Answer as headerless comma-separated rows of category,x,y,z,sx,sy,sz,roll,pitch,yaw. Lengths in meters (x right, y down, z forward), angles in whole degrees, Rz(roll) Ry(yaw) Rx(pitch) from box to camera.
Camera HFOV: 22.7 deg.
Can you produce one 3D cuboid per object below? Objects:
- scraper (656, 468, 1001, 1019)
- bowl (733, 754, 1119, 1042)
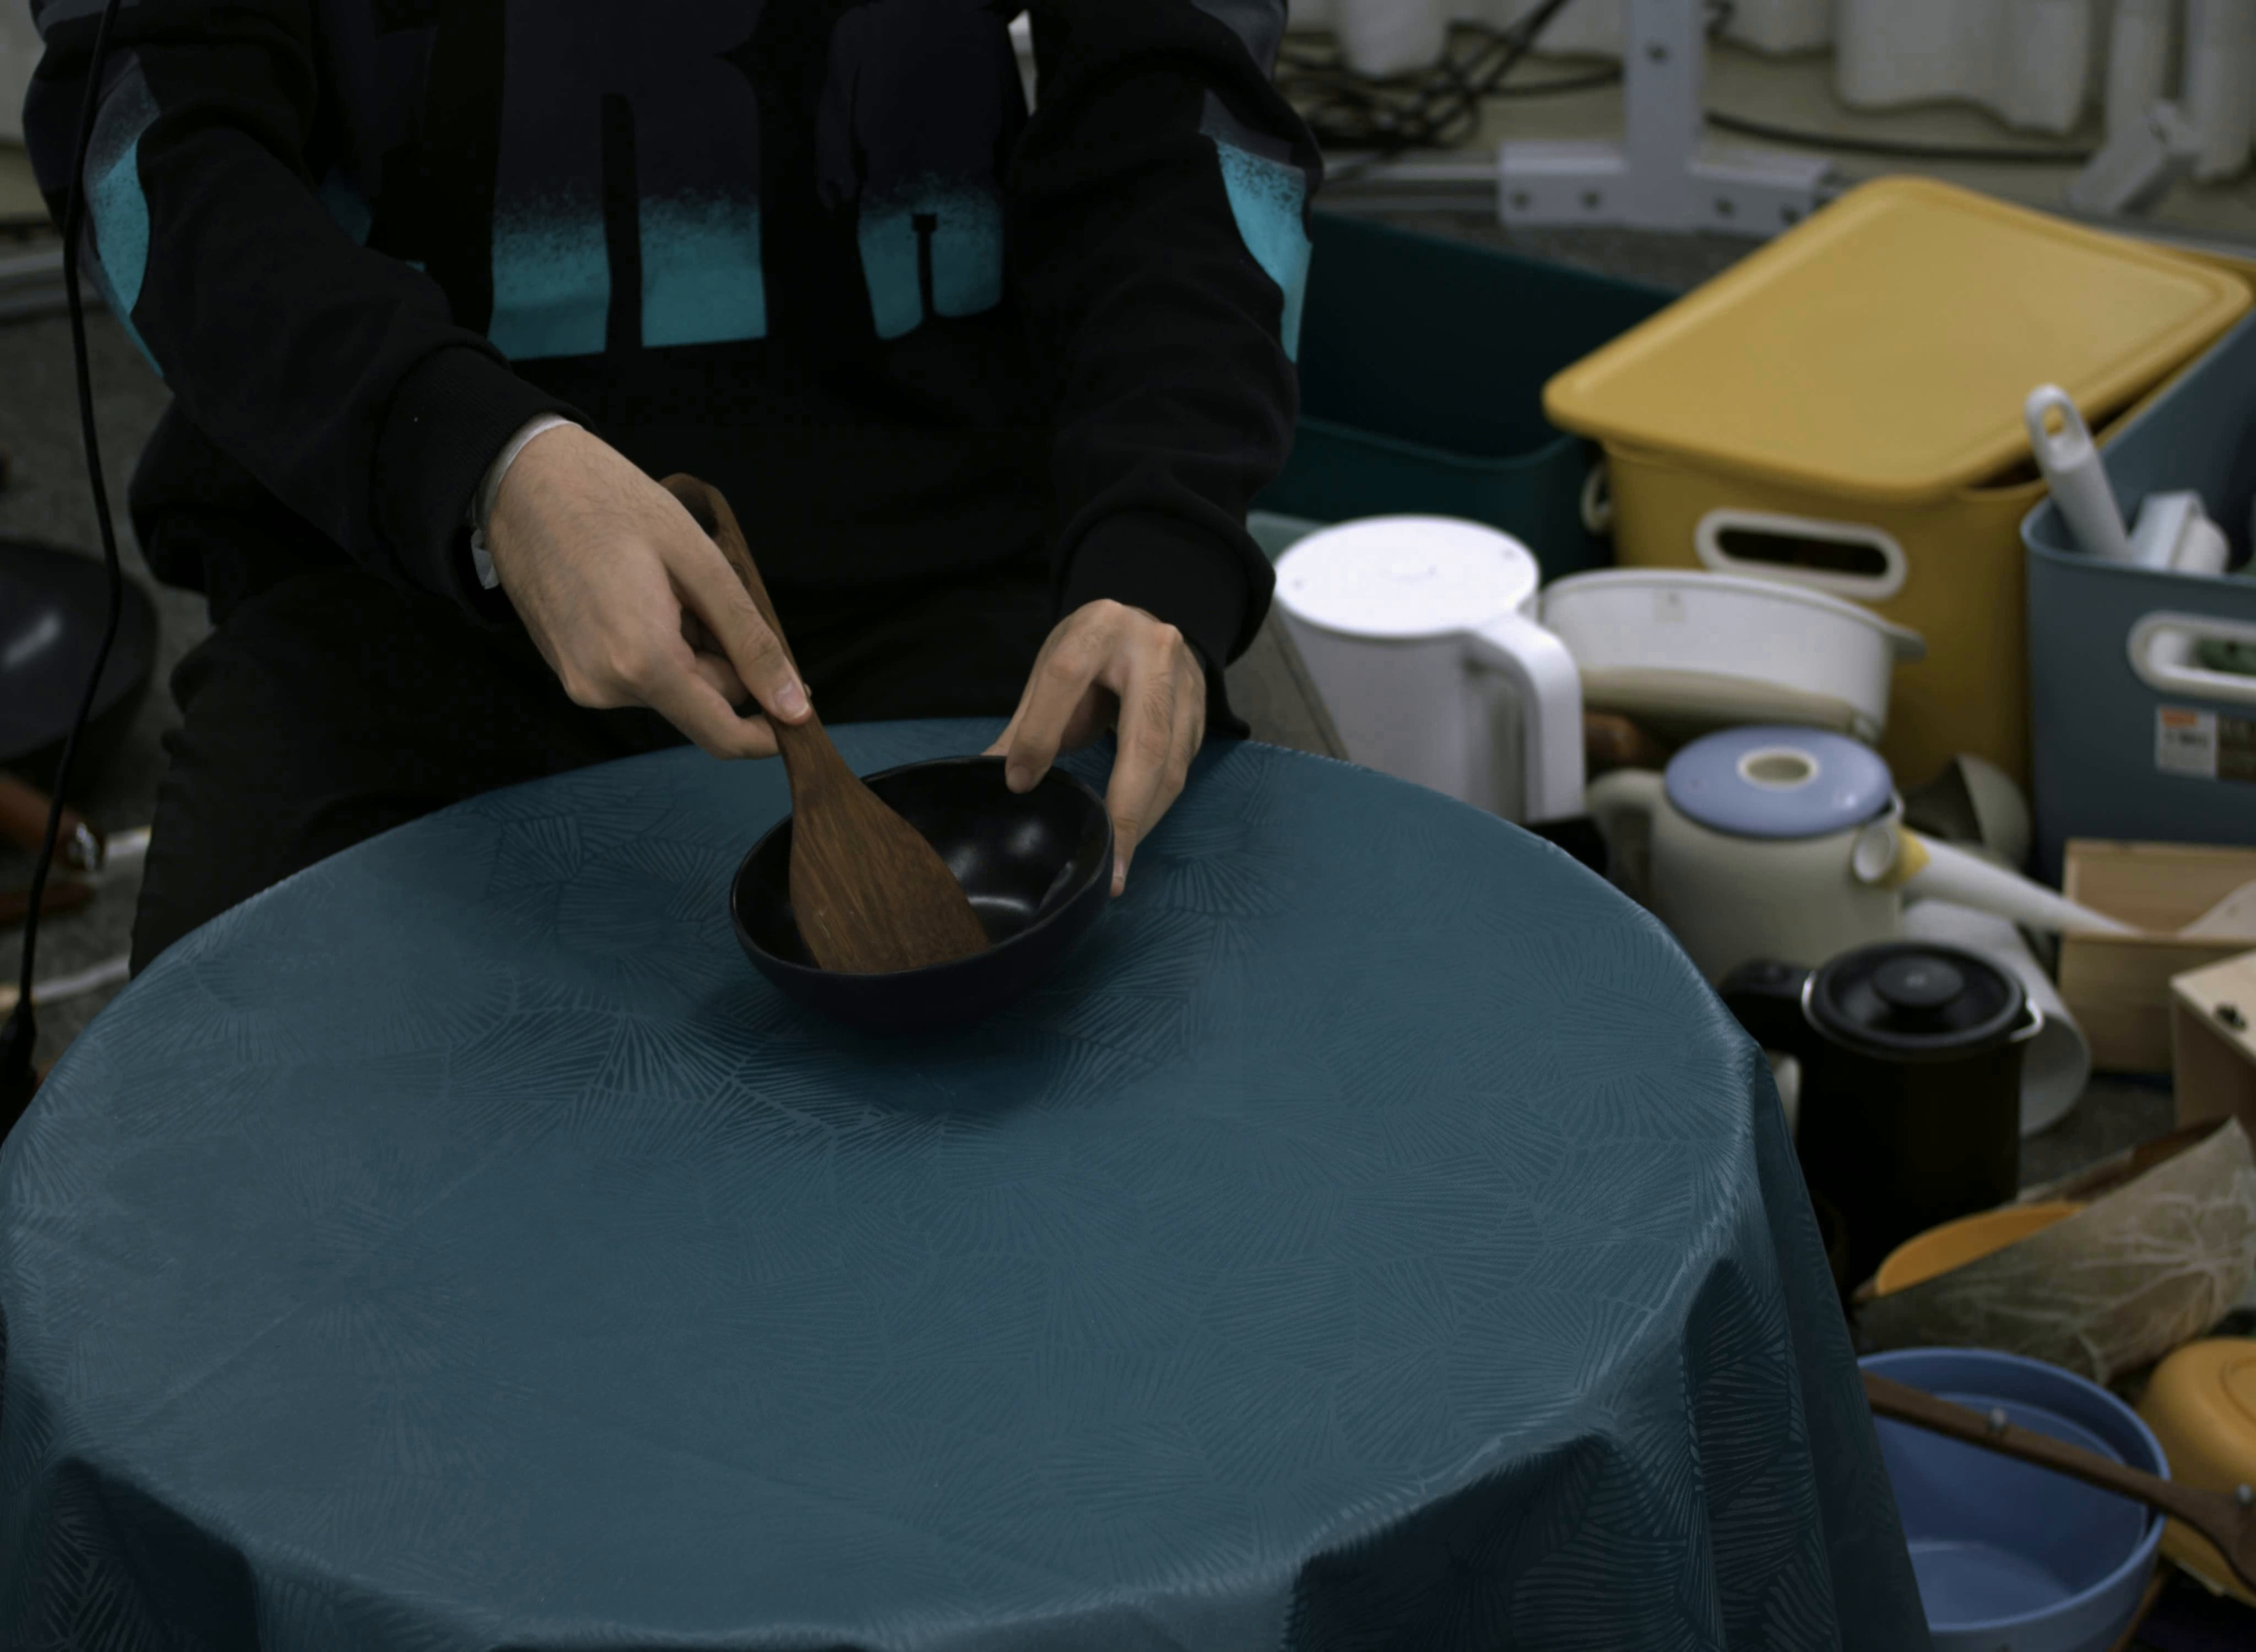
scraper,-0.113,-0.030,1.973,0.076,0.213,0.010,-18,-12,-41
bowl,-0.066,0.034,1.973,0.139,0.049,0.142,-10,32,7
